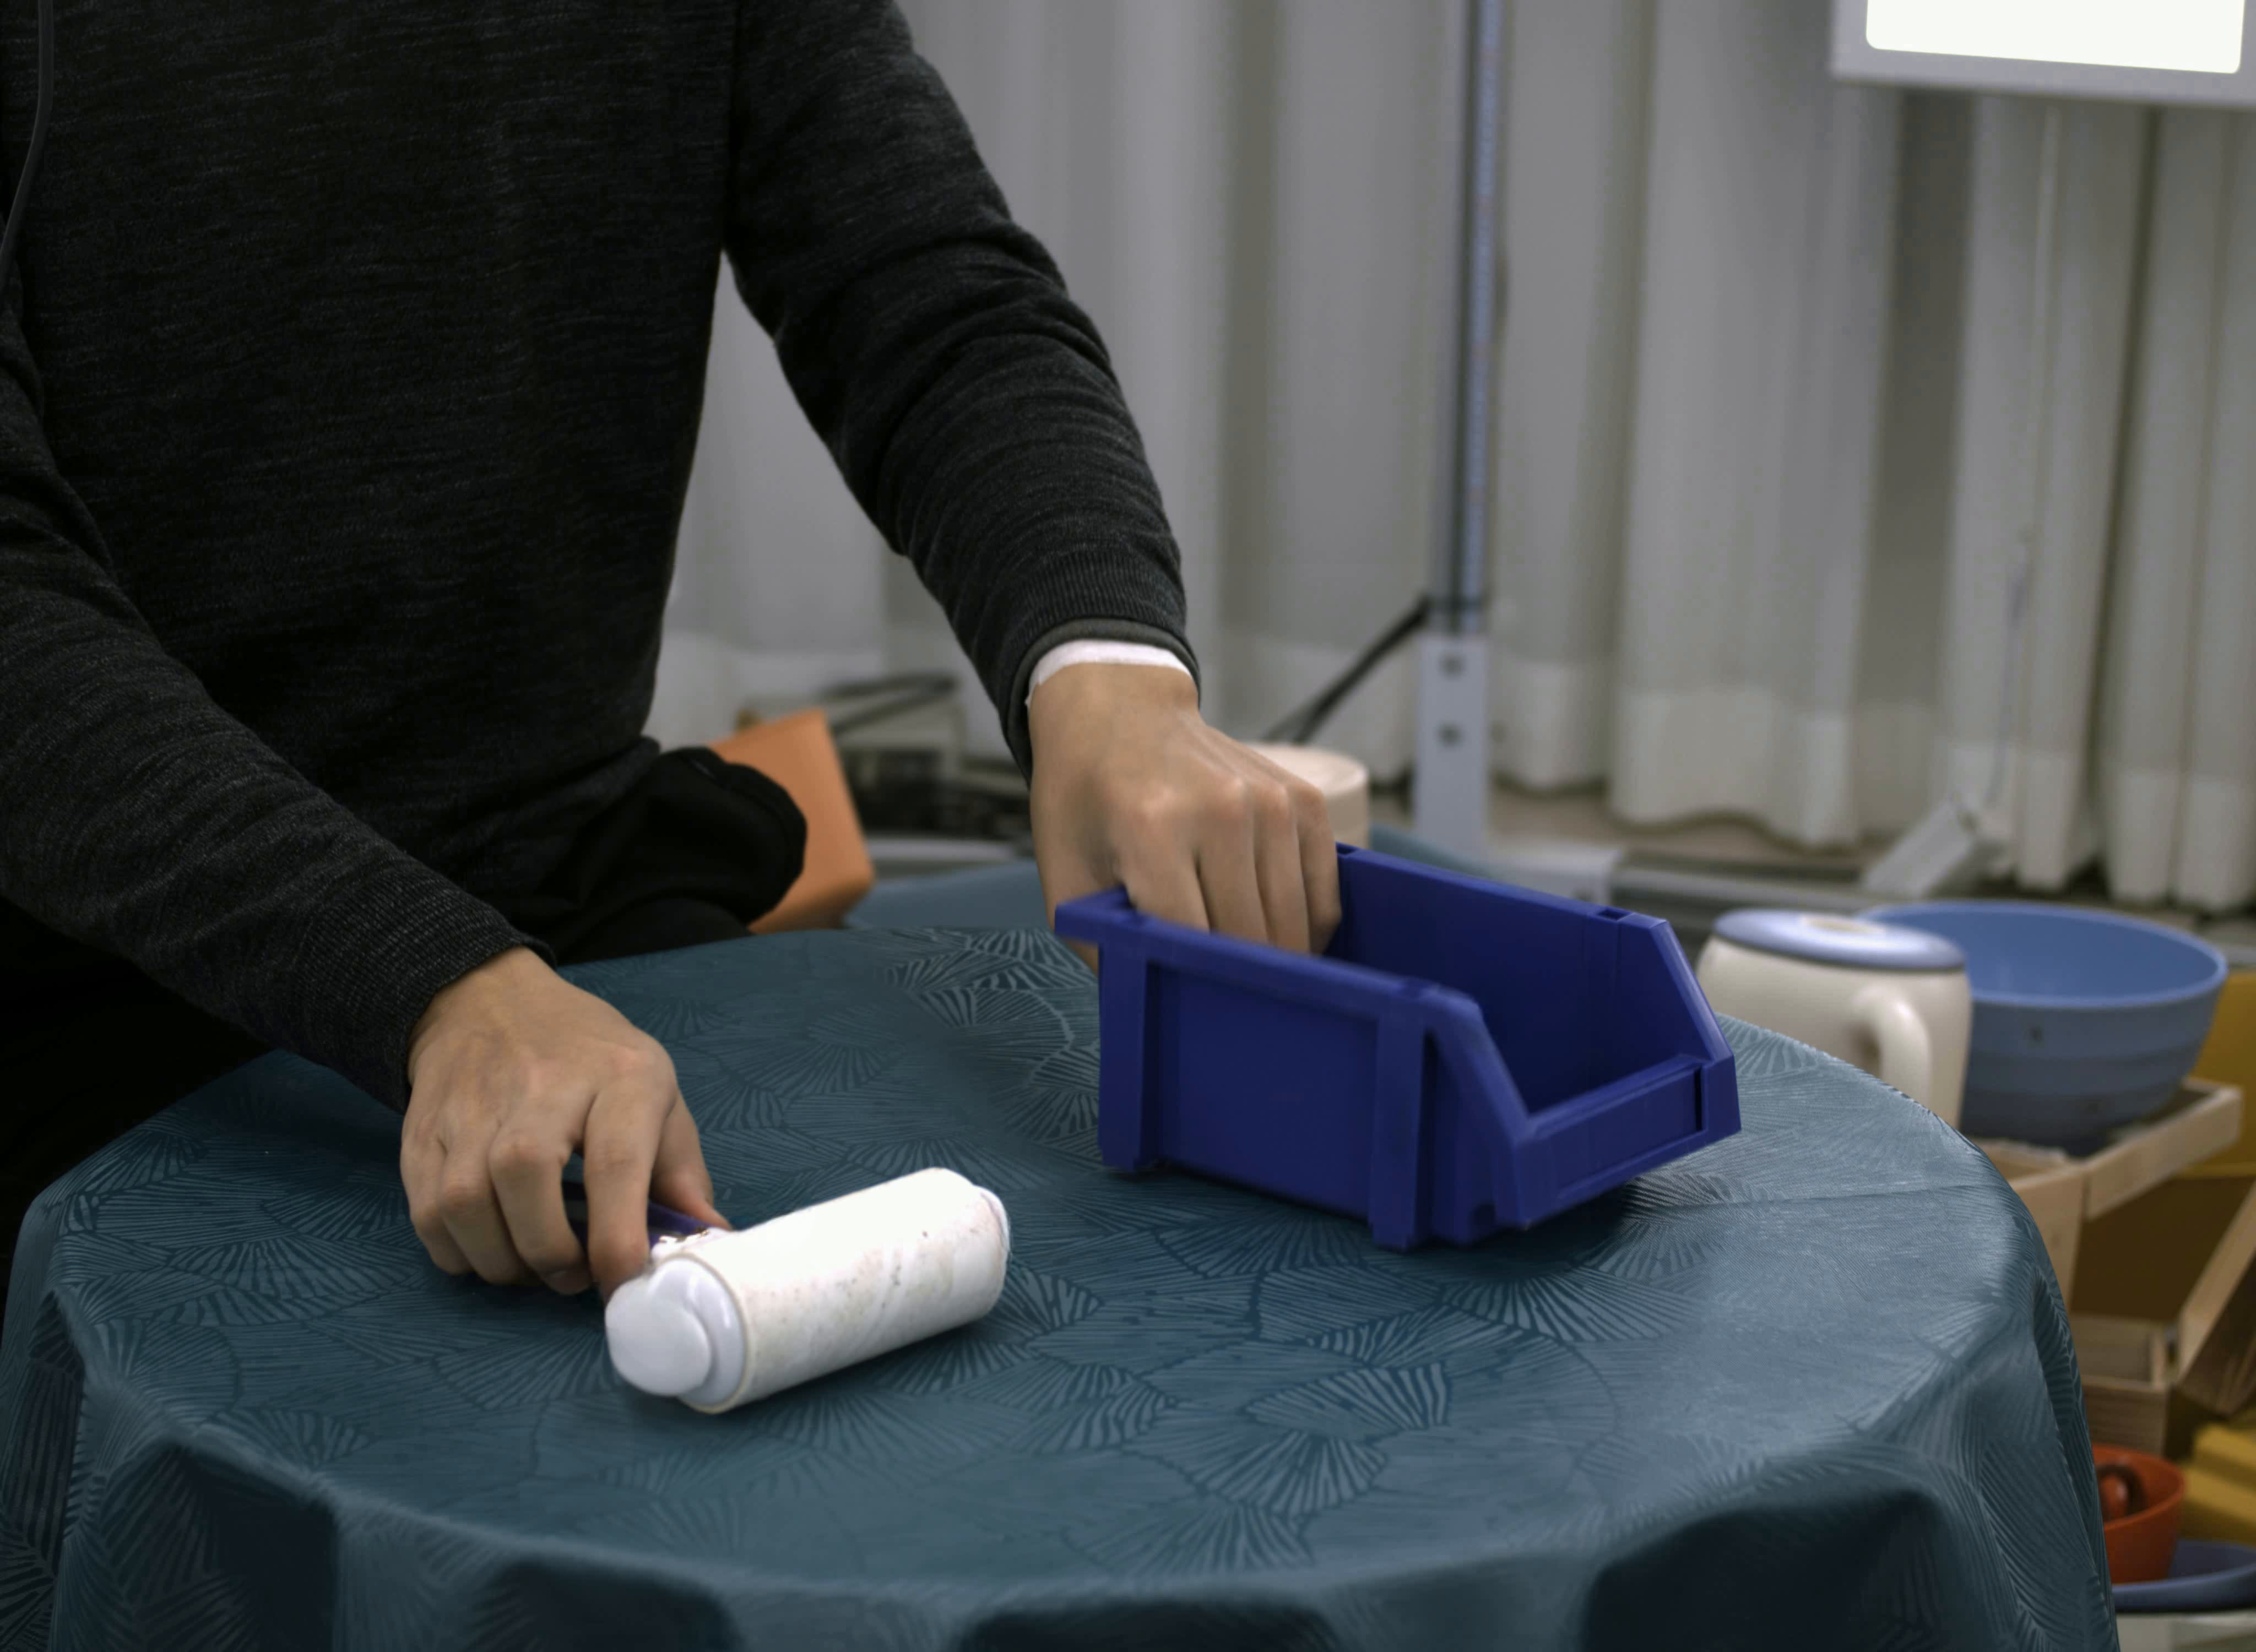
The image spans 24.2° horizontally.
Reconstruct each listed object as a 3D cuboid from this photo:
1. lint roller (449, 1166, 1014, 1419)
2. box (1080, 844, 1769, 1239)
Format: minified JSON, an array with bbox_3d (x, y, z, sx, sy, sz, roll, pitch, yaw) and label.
[{"bbox_3d":[-0.131,0.112,1.513,0.133,0.050,0.178,-16,28,-43],"label":"lint roller"},{"bbox_3d":[0.092,0.067,1.623,0.177,0.082,0.125,10,16,37],"label":"box"}]
